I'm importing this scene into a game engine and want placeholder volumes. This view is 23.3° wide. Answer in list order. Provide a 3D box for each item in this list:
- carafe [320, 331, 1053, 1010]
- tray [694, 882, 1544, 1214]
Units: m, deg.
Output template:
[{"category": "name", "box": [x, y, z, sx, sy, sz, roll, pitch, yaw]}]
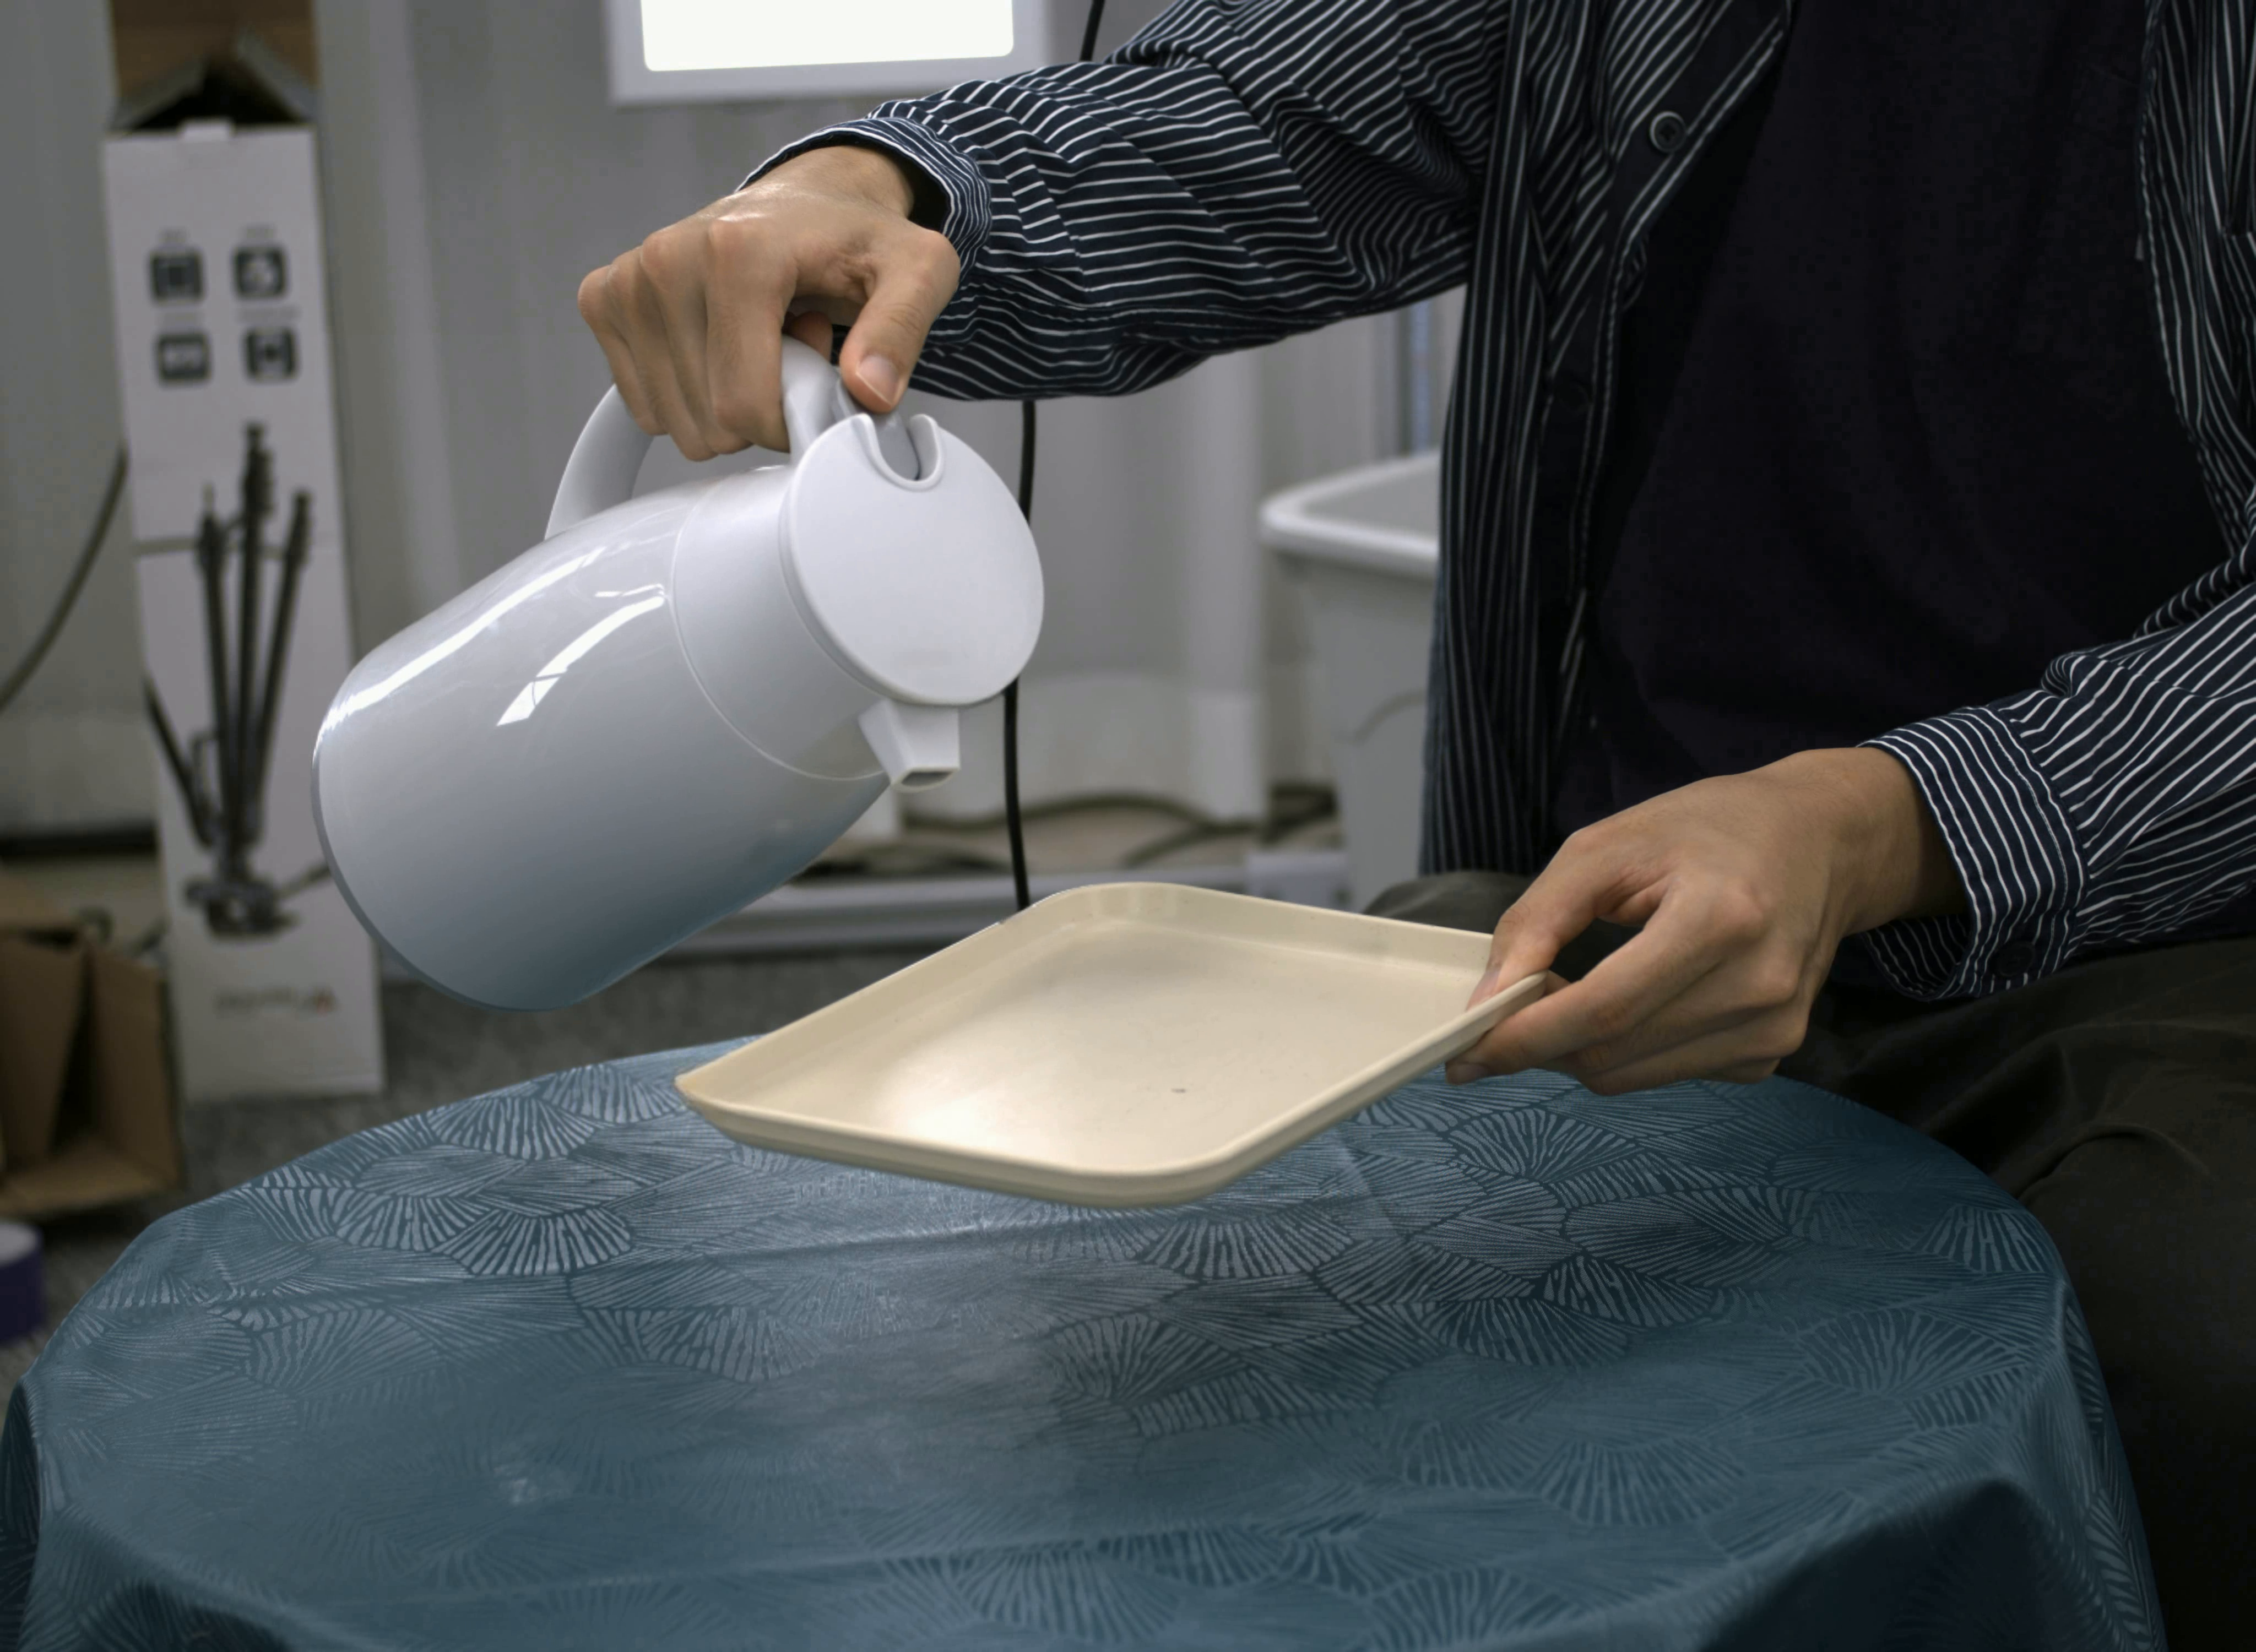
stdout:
[{"category": "carafe", "box": [-0.135, -0.058, 1.682, 0.132, 0.169, 0.247, -7, -14, -41]}, {"category": "tray", "box": [0.001, 0.062, 1.565, 0.172, 0.017, 0.240, 9, 18, 30]}]
